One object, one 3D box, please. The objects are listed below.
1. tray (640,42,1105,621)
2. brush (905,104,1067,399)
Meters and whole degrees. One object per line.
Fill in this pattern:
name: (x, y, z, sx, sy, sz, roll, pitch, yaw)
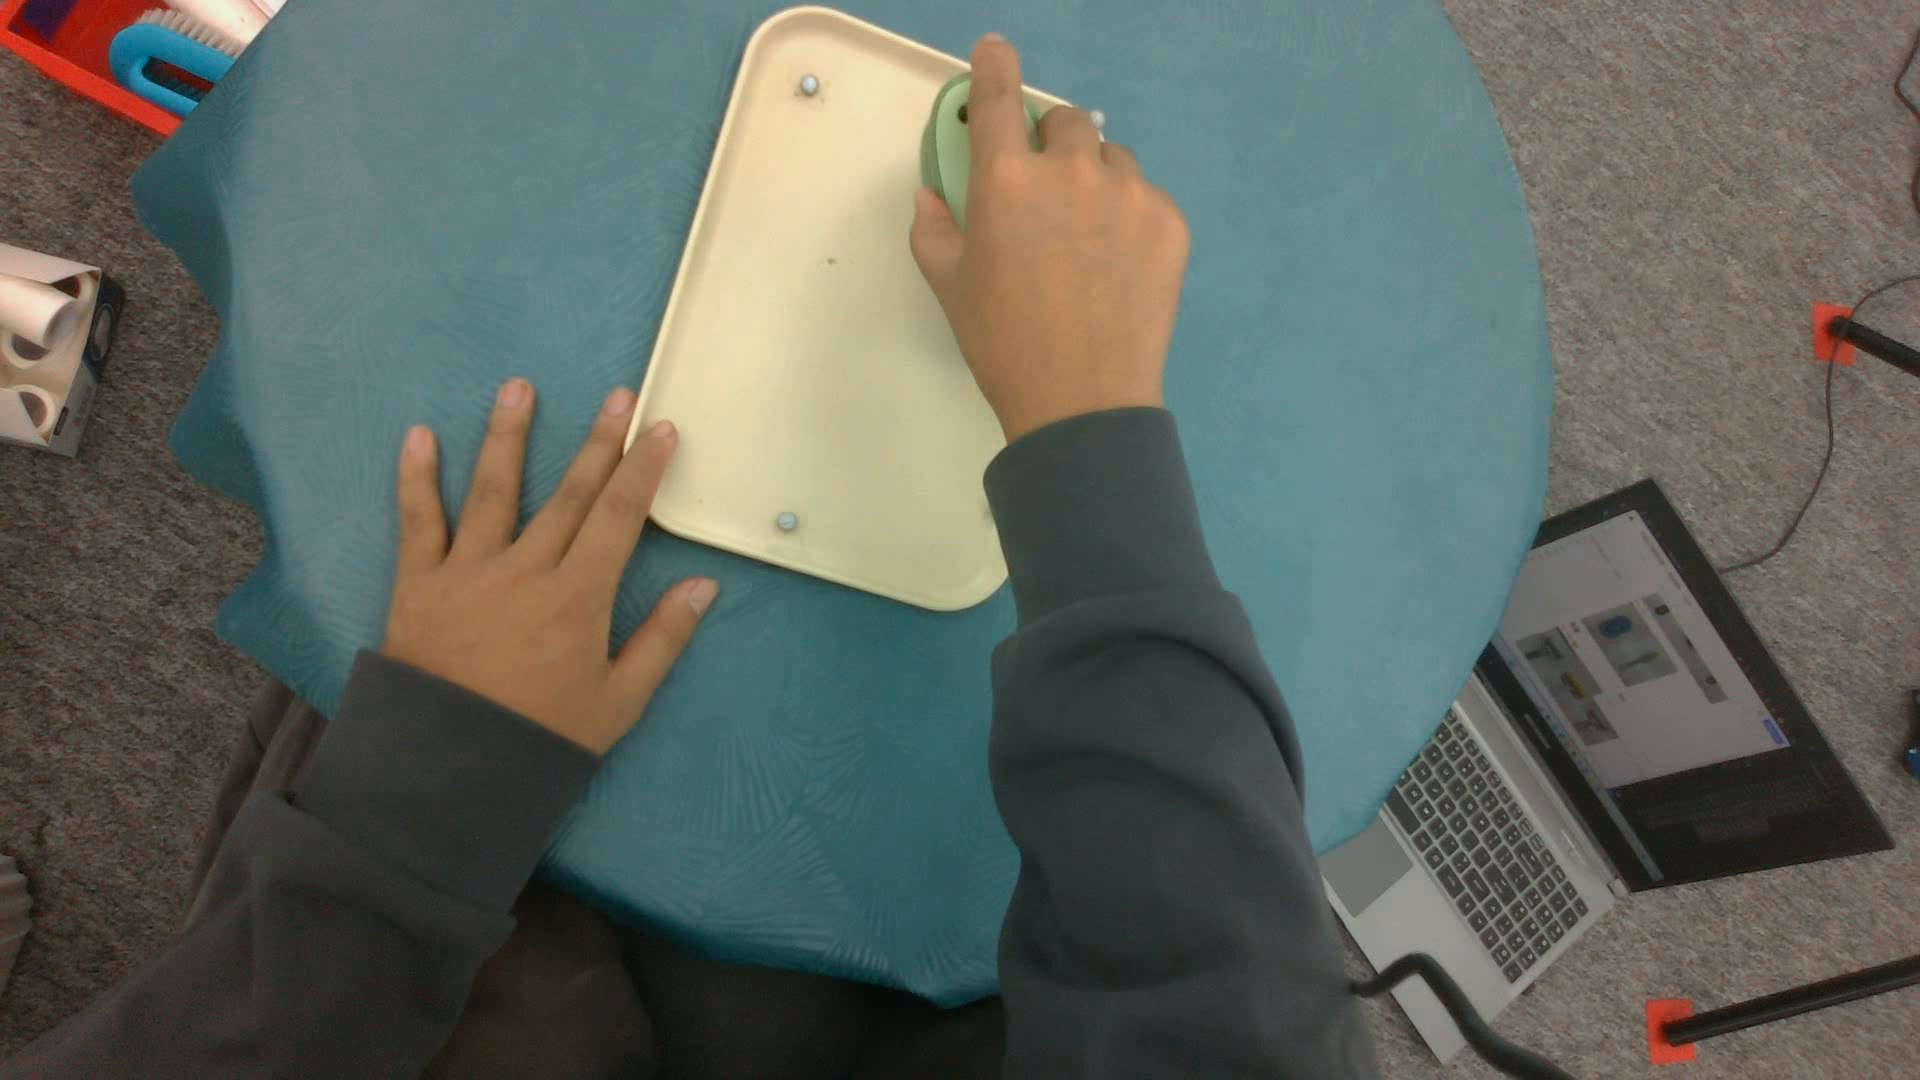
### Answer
tray: (-0.034, -0.093, 0.610, 0.171, 0.017, 0.240, 15, 79, -11)
brush: (0.011, -0.121, 0.581, 0.059, 0.076, 0.122, -12, 109, 2)
